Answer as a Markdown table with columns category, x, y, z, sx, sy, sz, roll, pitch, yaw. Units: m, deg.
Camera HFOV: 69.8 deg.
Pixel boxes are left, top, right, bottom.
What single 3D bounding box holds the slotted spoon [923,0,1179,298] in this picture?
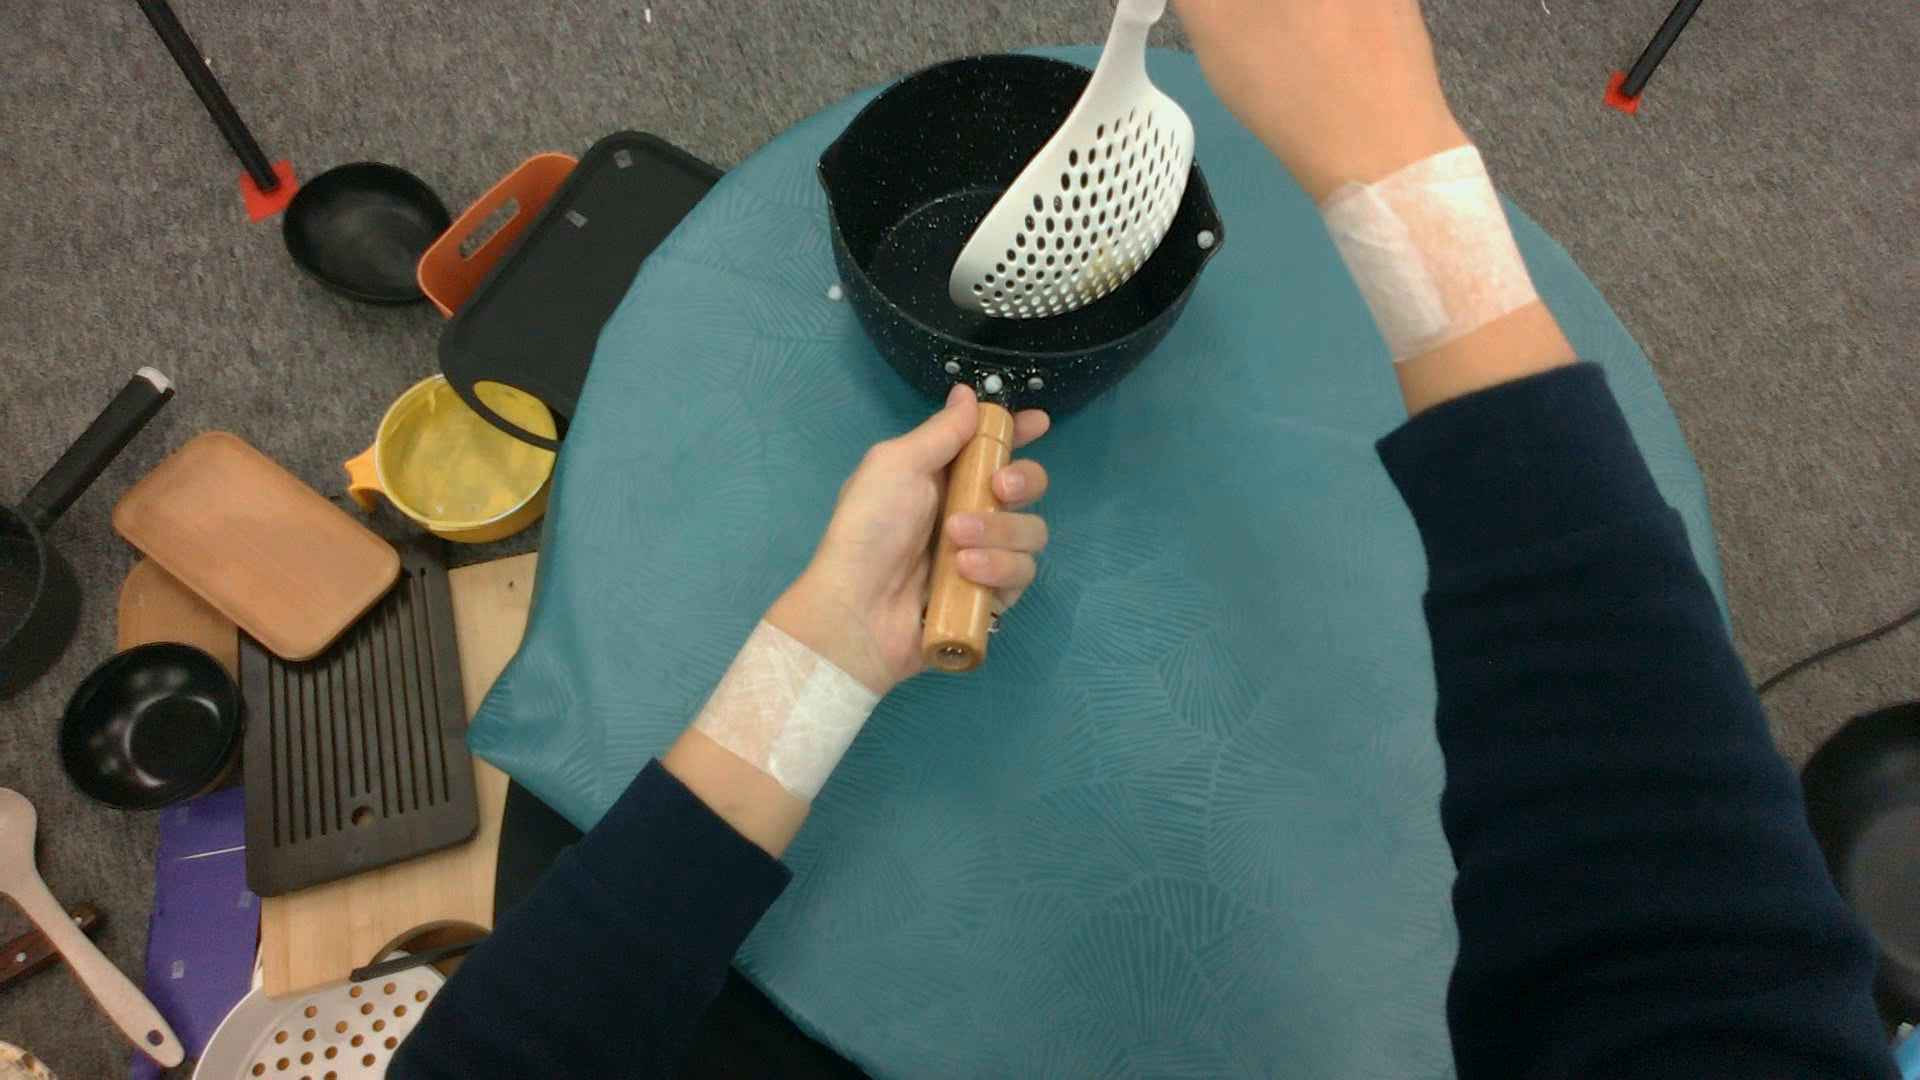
| category | x | y | z | sx | sy | sz | roll | pitch | yaw |
| --- | --- | --- | --- | --- | --- | --- | --- | --- | --- |
| slotted spoon | 0.062 | -0.189 | 0.570 | 0.137 | 0.346 | 0.050 | -24 | 73 | -14 |

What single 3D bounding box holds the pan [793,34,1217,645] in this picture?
| category | x | y | z | sx | sy | sz | roll | pitch | yaw |
| --- | --- | --- | --- | --- | --- | --- | --- | --- | --- |
| pan | 0.011 | -0.091 | 0.649 | 0.207 | 0.108 | 0.344 | 9 | 61 | -3 |
